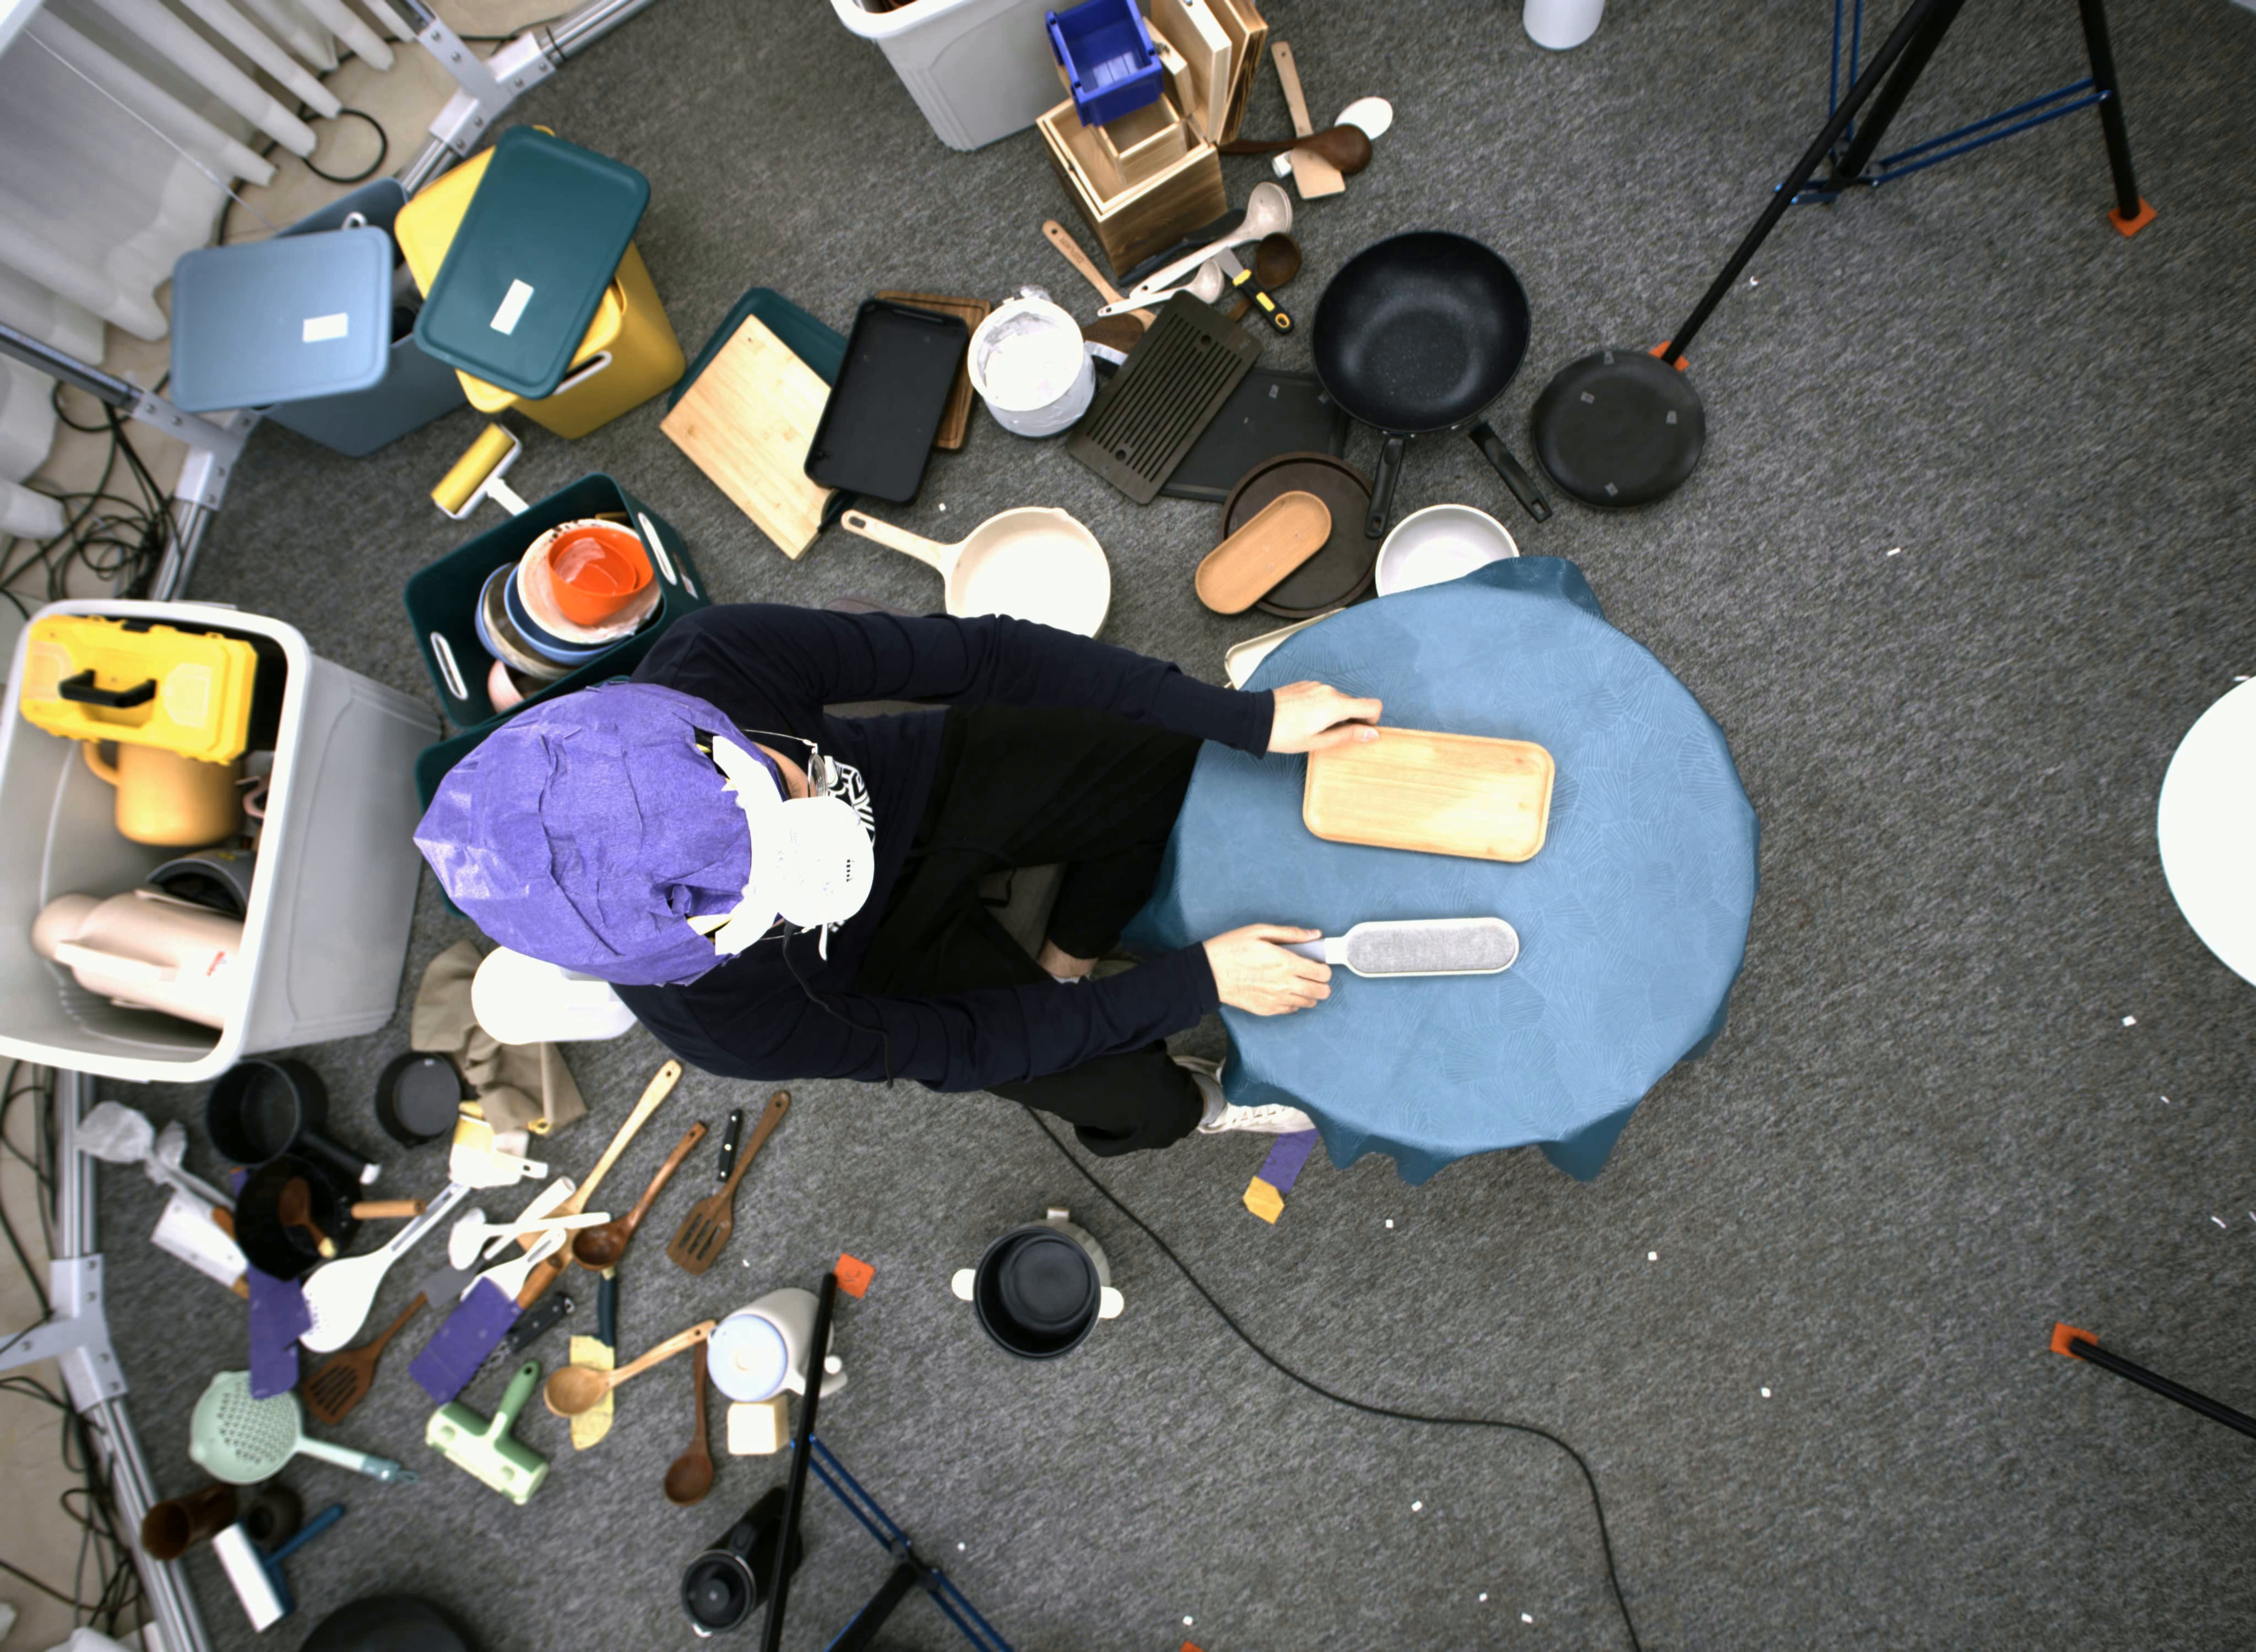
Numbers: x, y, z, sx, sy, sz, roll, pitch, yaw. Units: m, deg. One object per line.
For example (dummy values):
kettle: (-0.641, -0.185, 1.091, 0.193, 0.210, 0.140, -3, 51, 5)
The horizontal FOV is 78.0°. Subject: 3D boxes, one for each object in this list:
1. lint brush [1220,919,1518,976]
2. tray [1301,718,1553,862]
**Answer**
lint brush: (0.250, 0.126, 1.441, 0.310, 0.020, 0.060, -2, 100, 9)
tray: (0.308, -0.040, 1.430, 0.251, 0.022, 0.132, 8, 106, 10)
